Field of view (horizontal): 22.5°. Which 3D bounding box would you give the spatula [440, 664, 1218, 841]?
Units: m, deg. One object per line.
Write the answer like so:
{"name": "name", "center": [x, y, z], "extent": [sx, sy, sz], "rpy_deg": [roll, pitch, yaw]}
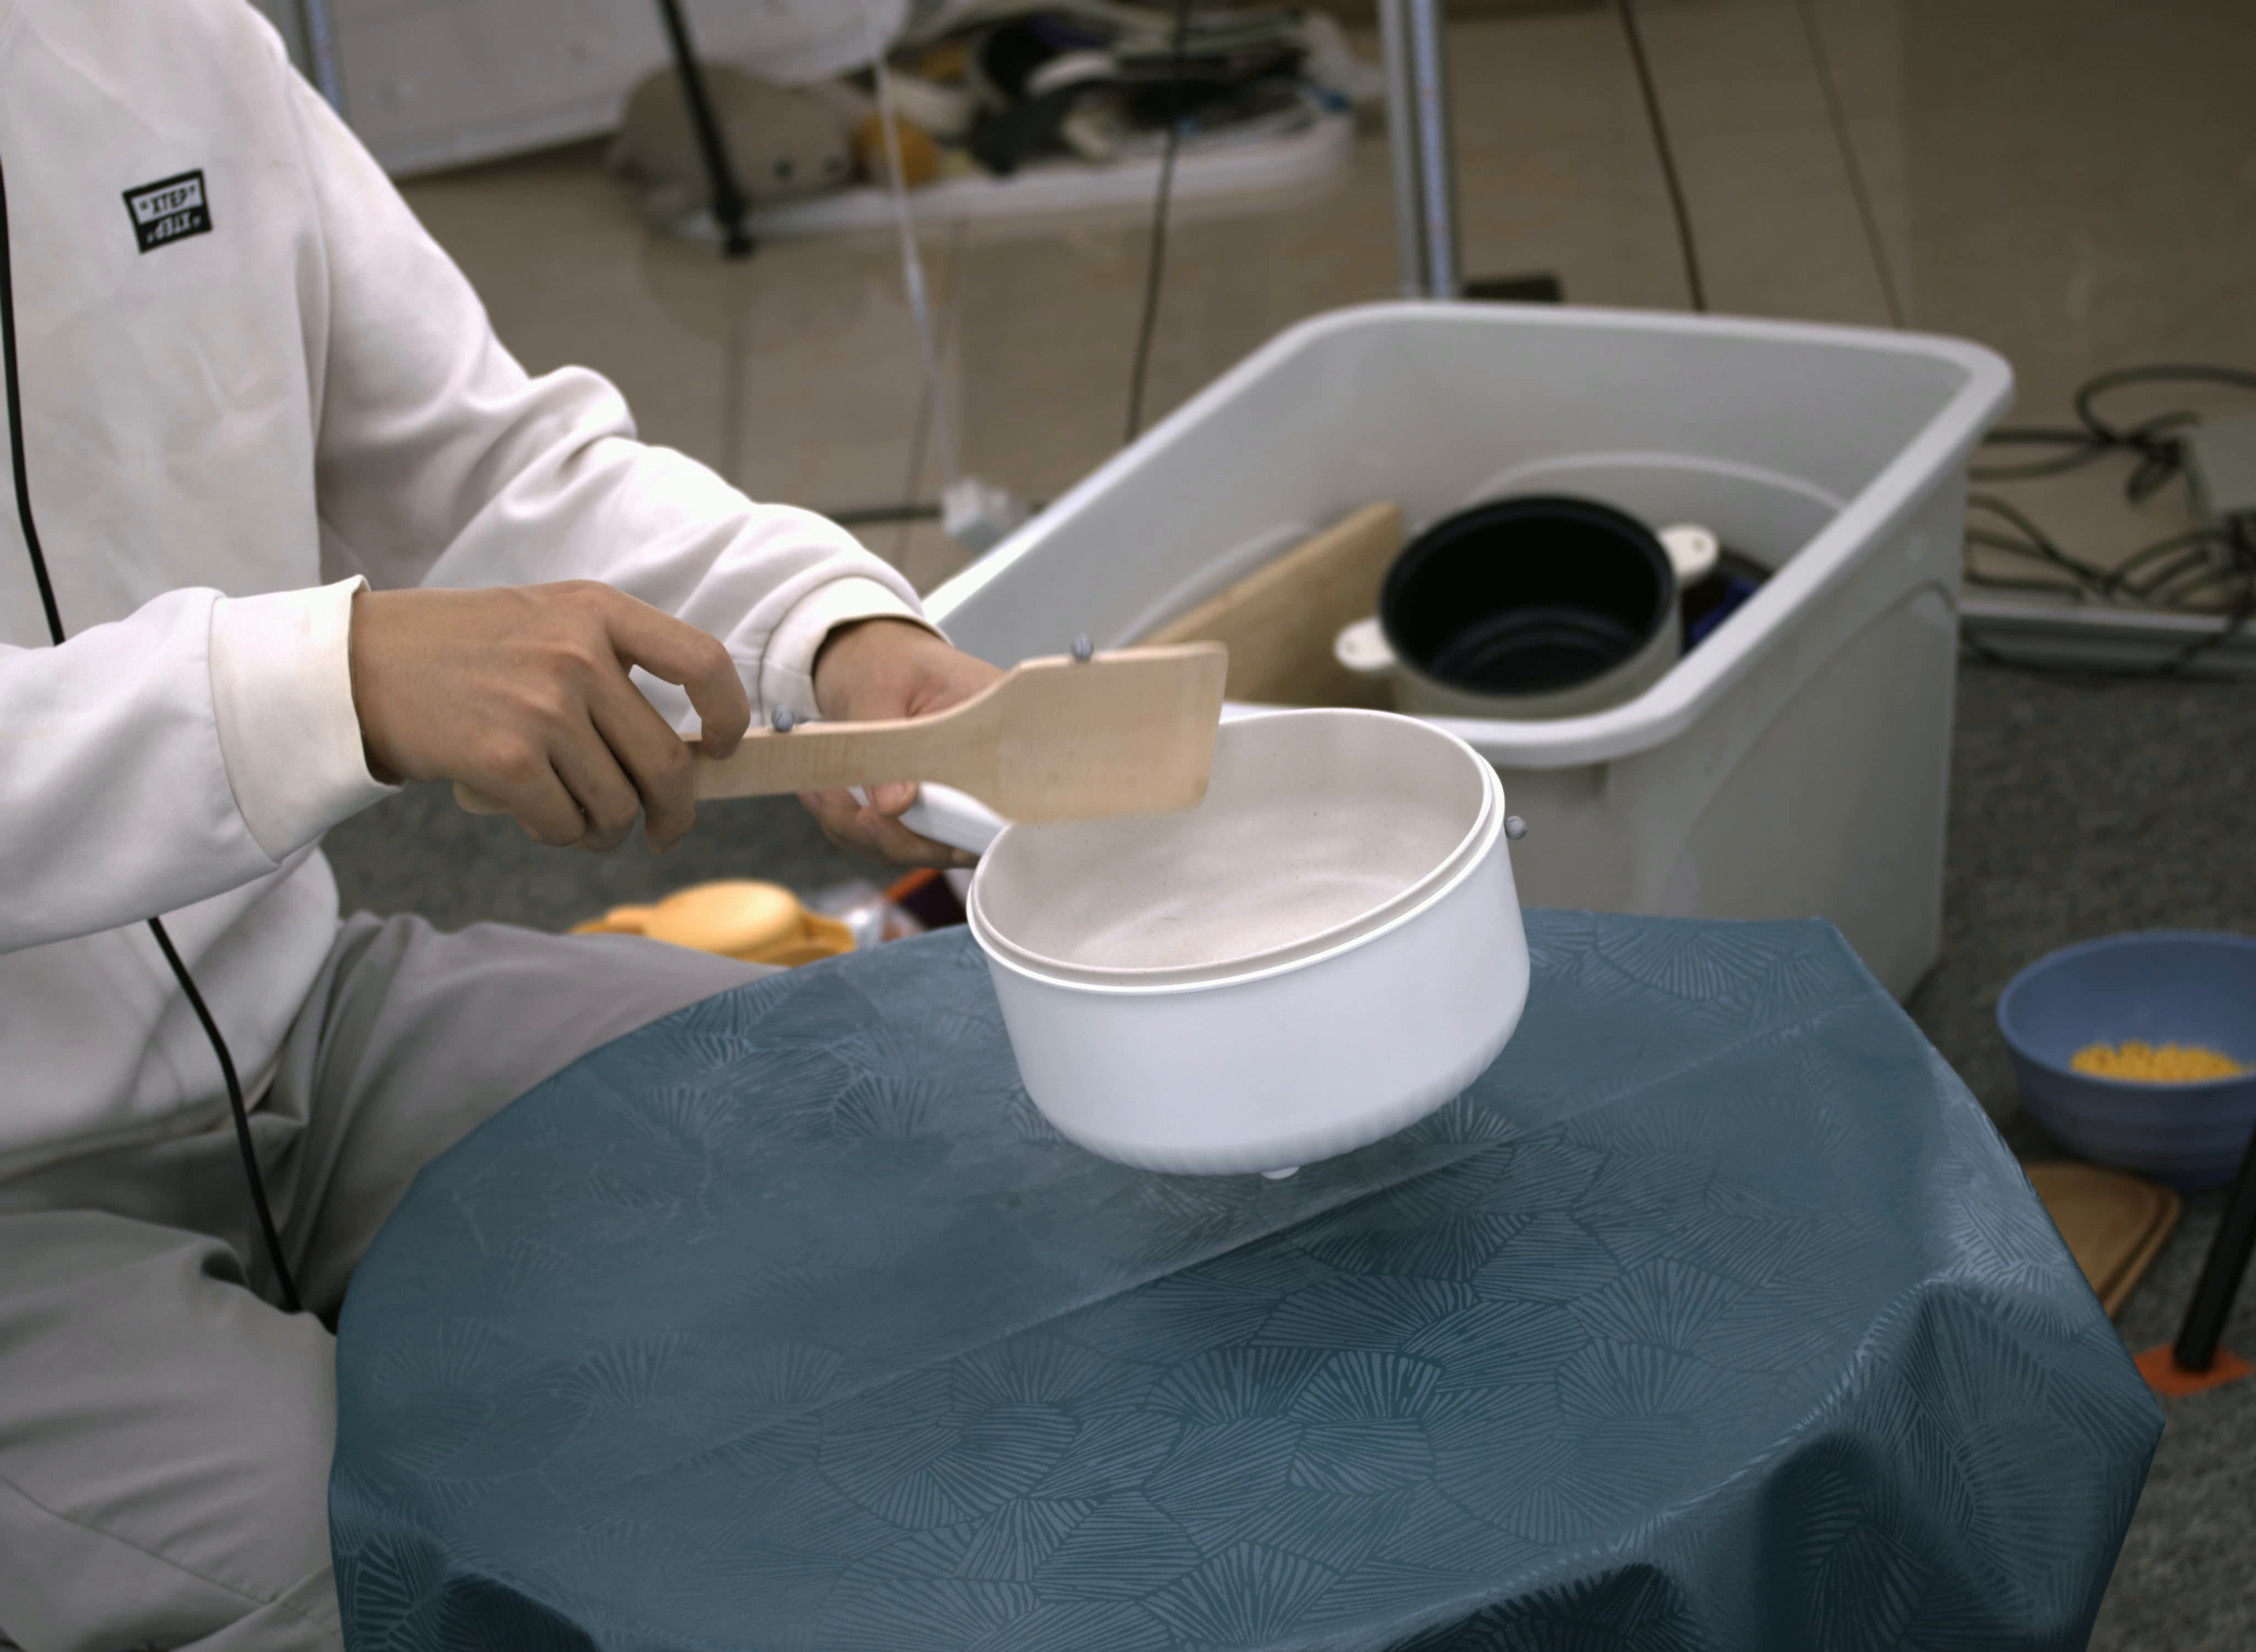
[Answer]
{"name": "spatula", "center": [-0.105, -0.023, 2.039], "extent": [0.292, 0.073, 0.010], "rpy_deg": [-3, 35, -22]}

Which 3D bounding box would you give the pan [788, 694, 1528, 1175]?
{"name": "pan", "center": [-0.002, 0.030, 2.147], "extent": [0.199, 0.104, 0.352], "rpy_deg": [-32, 31, -31]}
